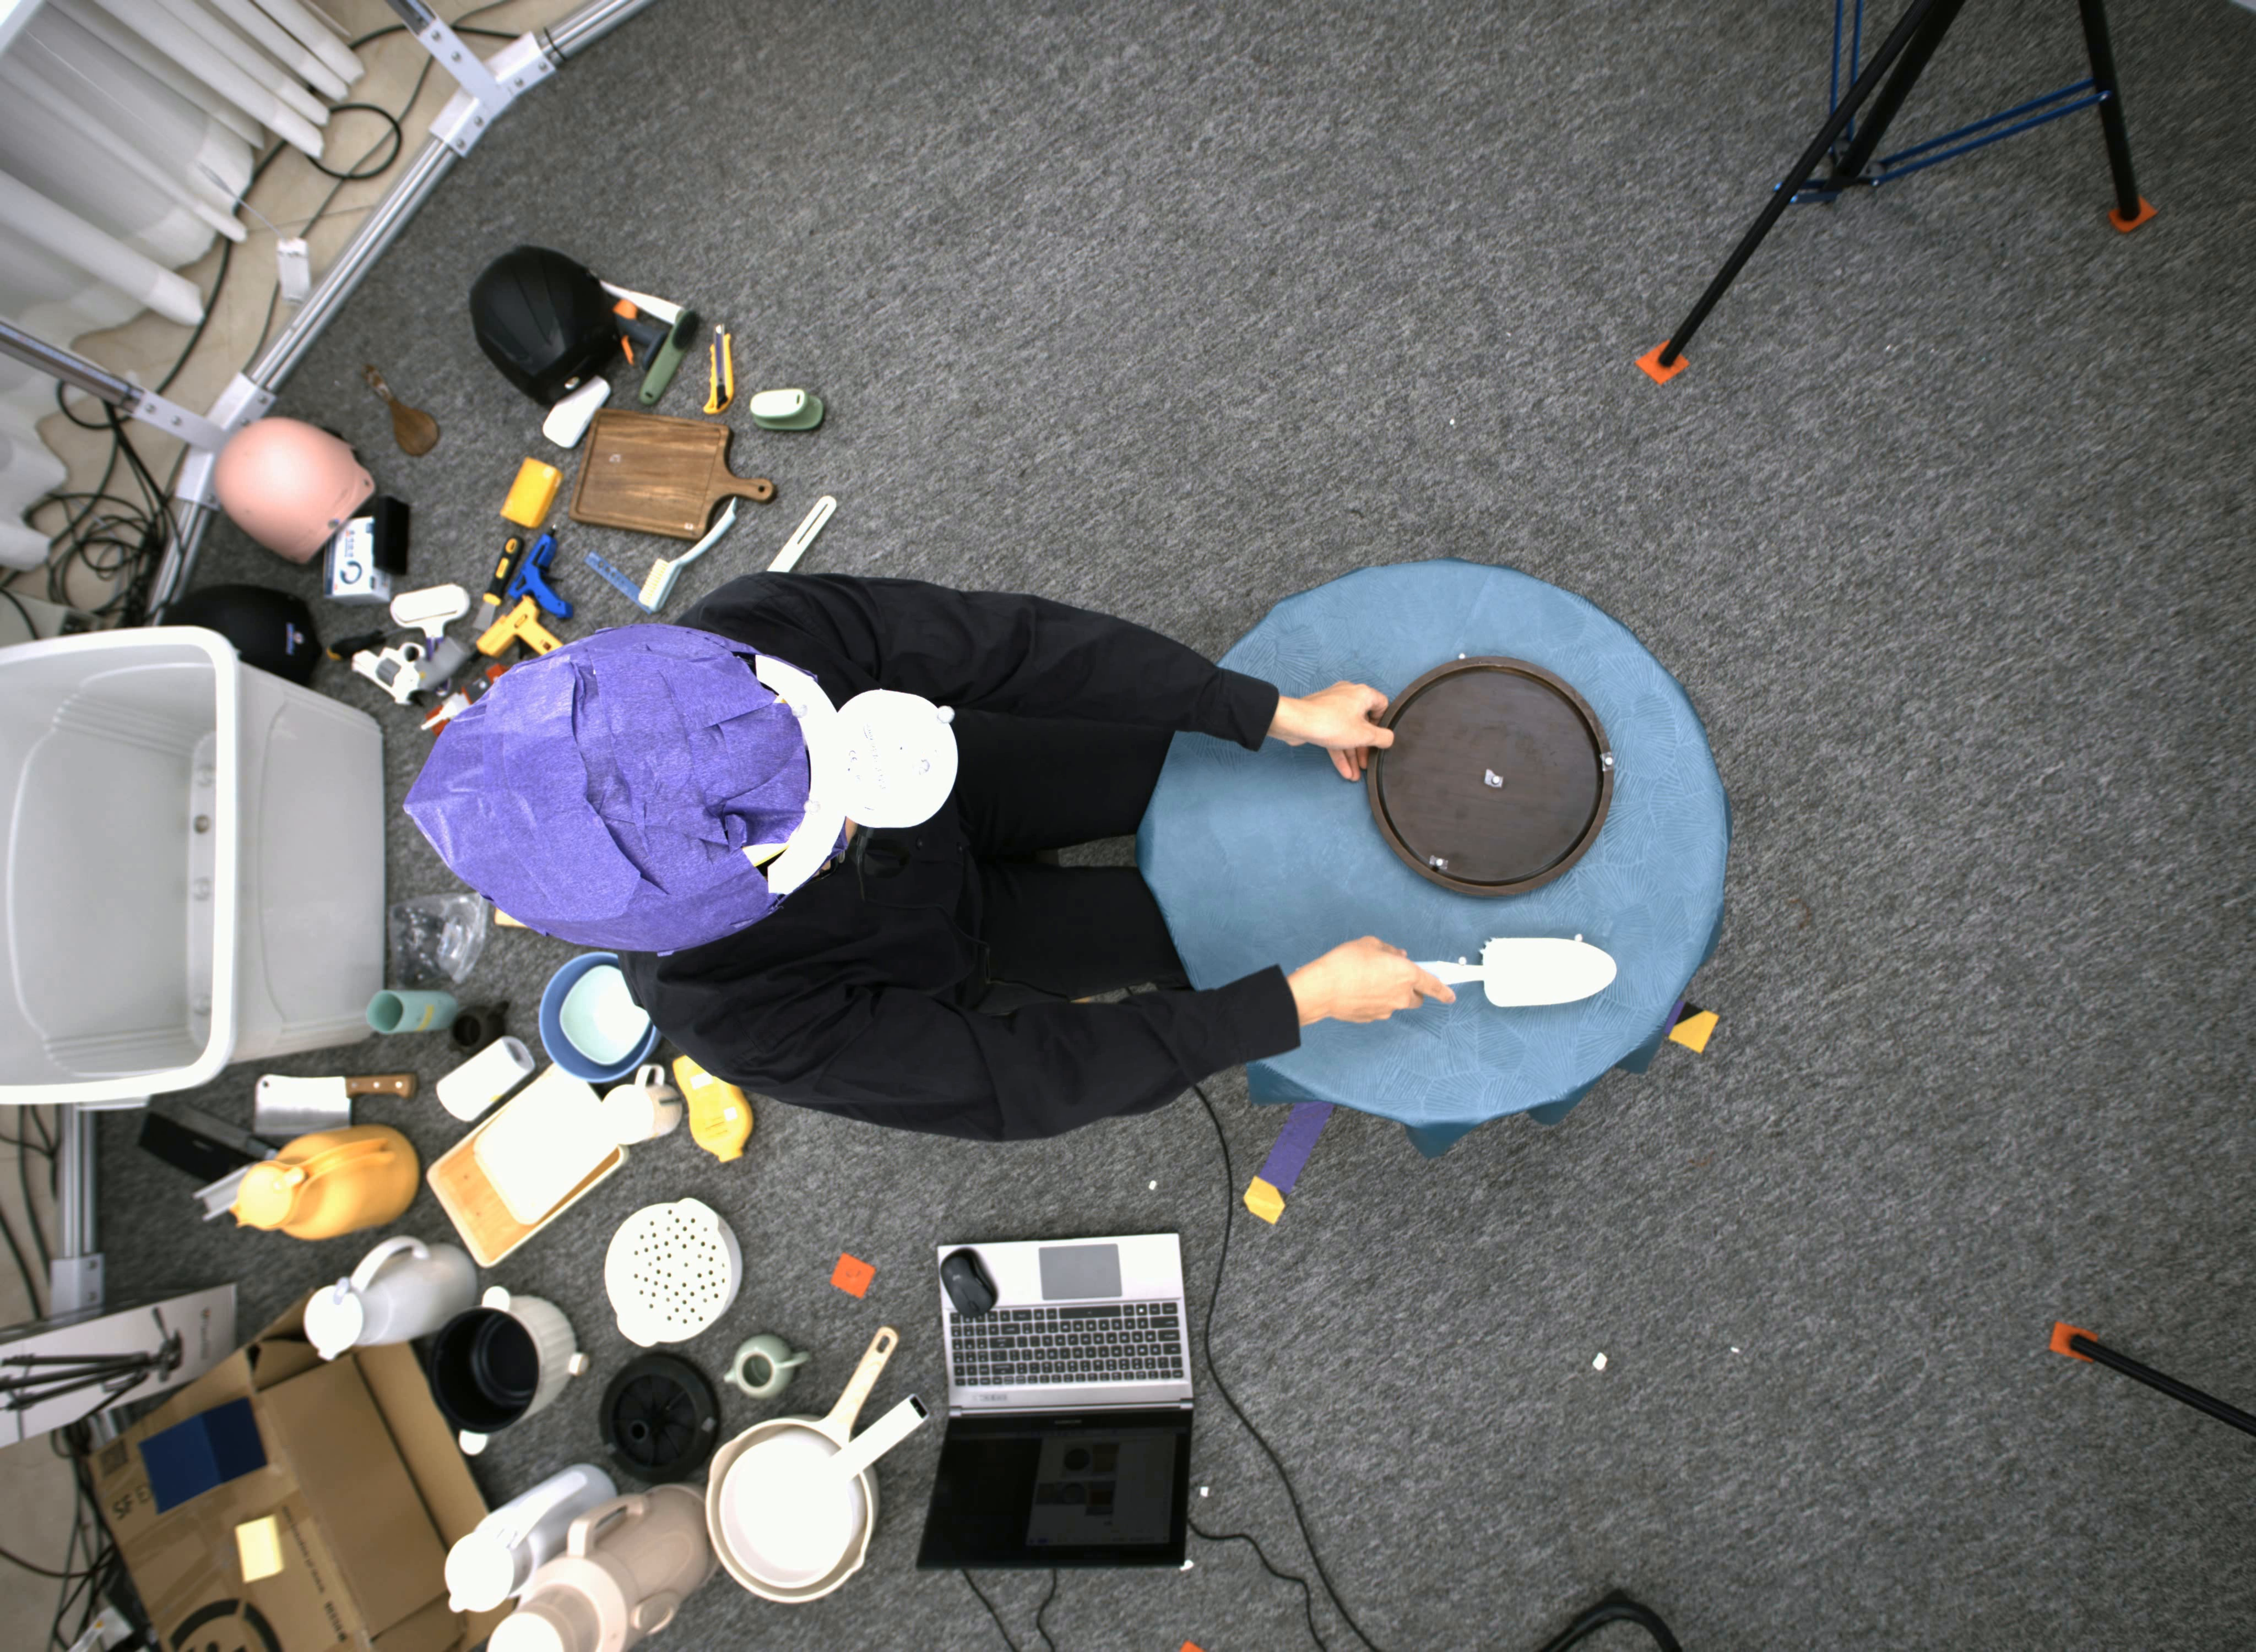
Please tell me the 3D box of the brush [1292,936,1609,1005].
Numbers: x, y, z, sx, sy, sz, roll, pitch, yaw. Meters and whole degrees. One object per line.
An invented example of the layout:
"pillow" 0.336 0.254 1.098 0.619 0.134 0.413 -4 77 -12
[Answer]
"brush" 0.323 0.142 1.403 0.326 0.087 0.081 0 49 -2

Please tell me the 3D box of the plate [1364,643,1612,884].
"plate" 0.374 -0.068 1.434 0.256 0.029 0.254 0 89 10
